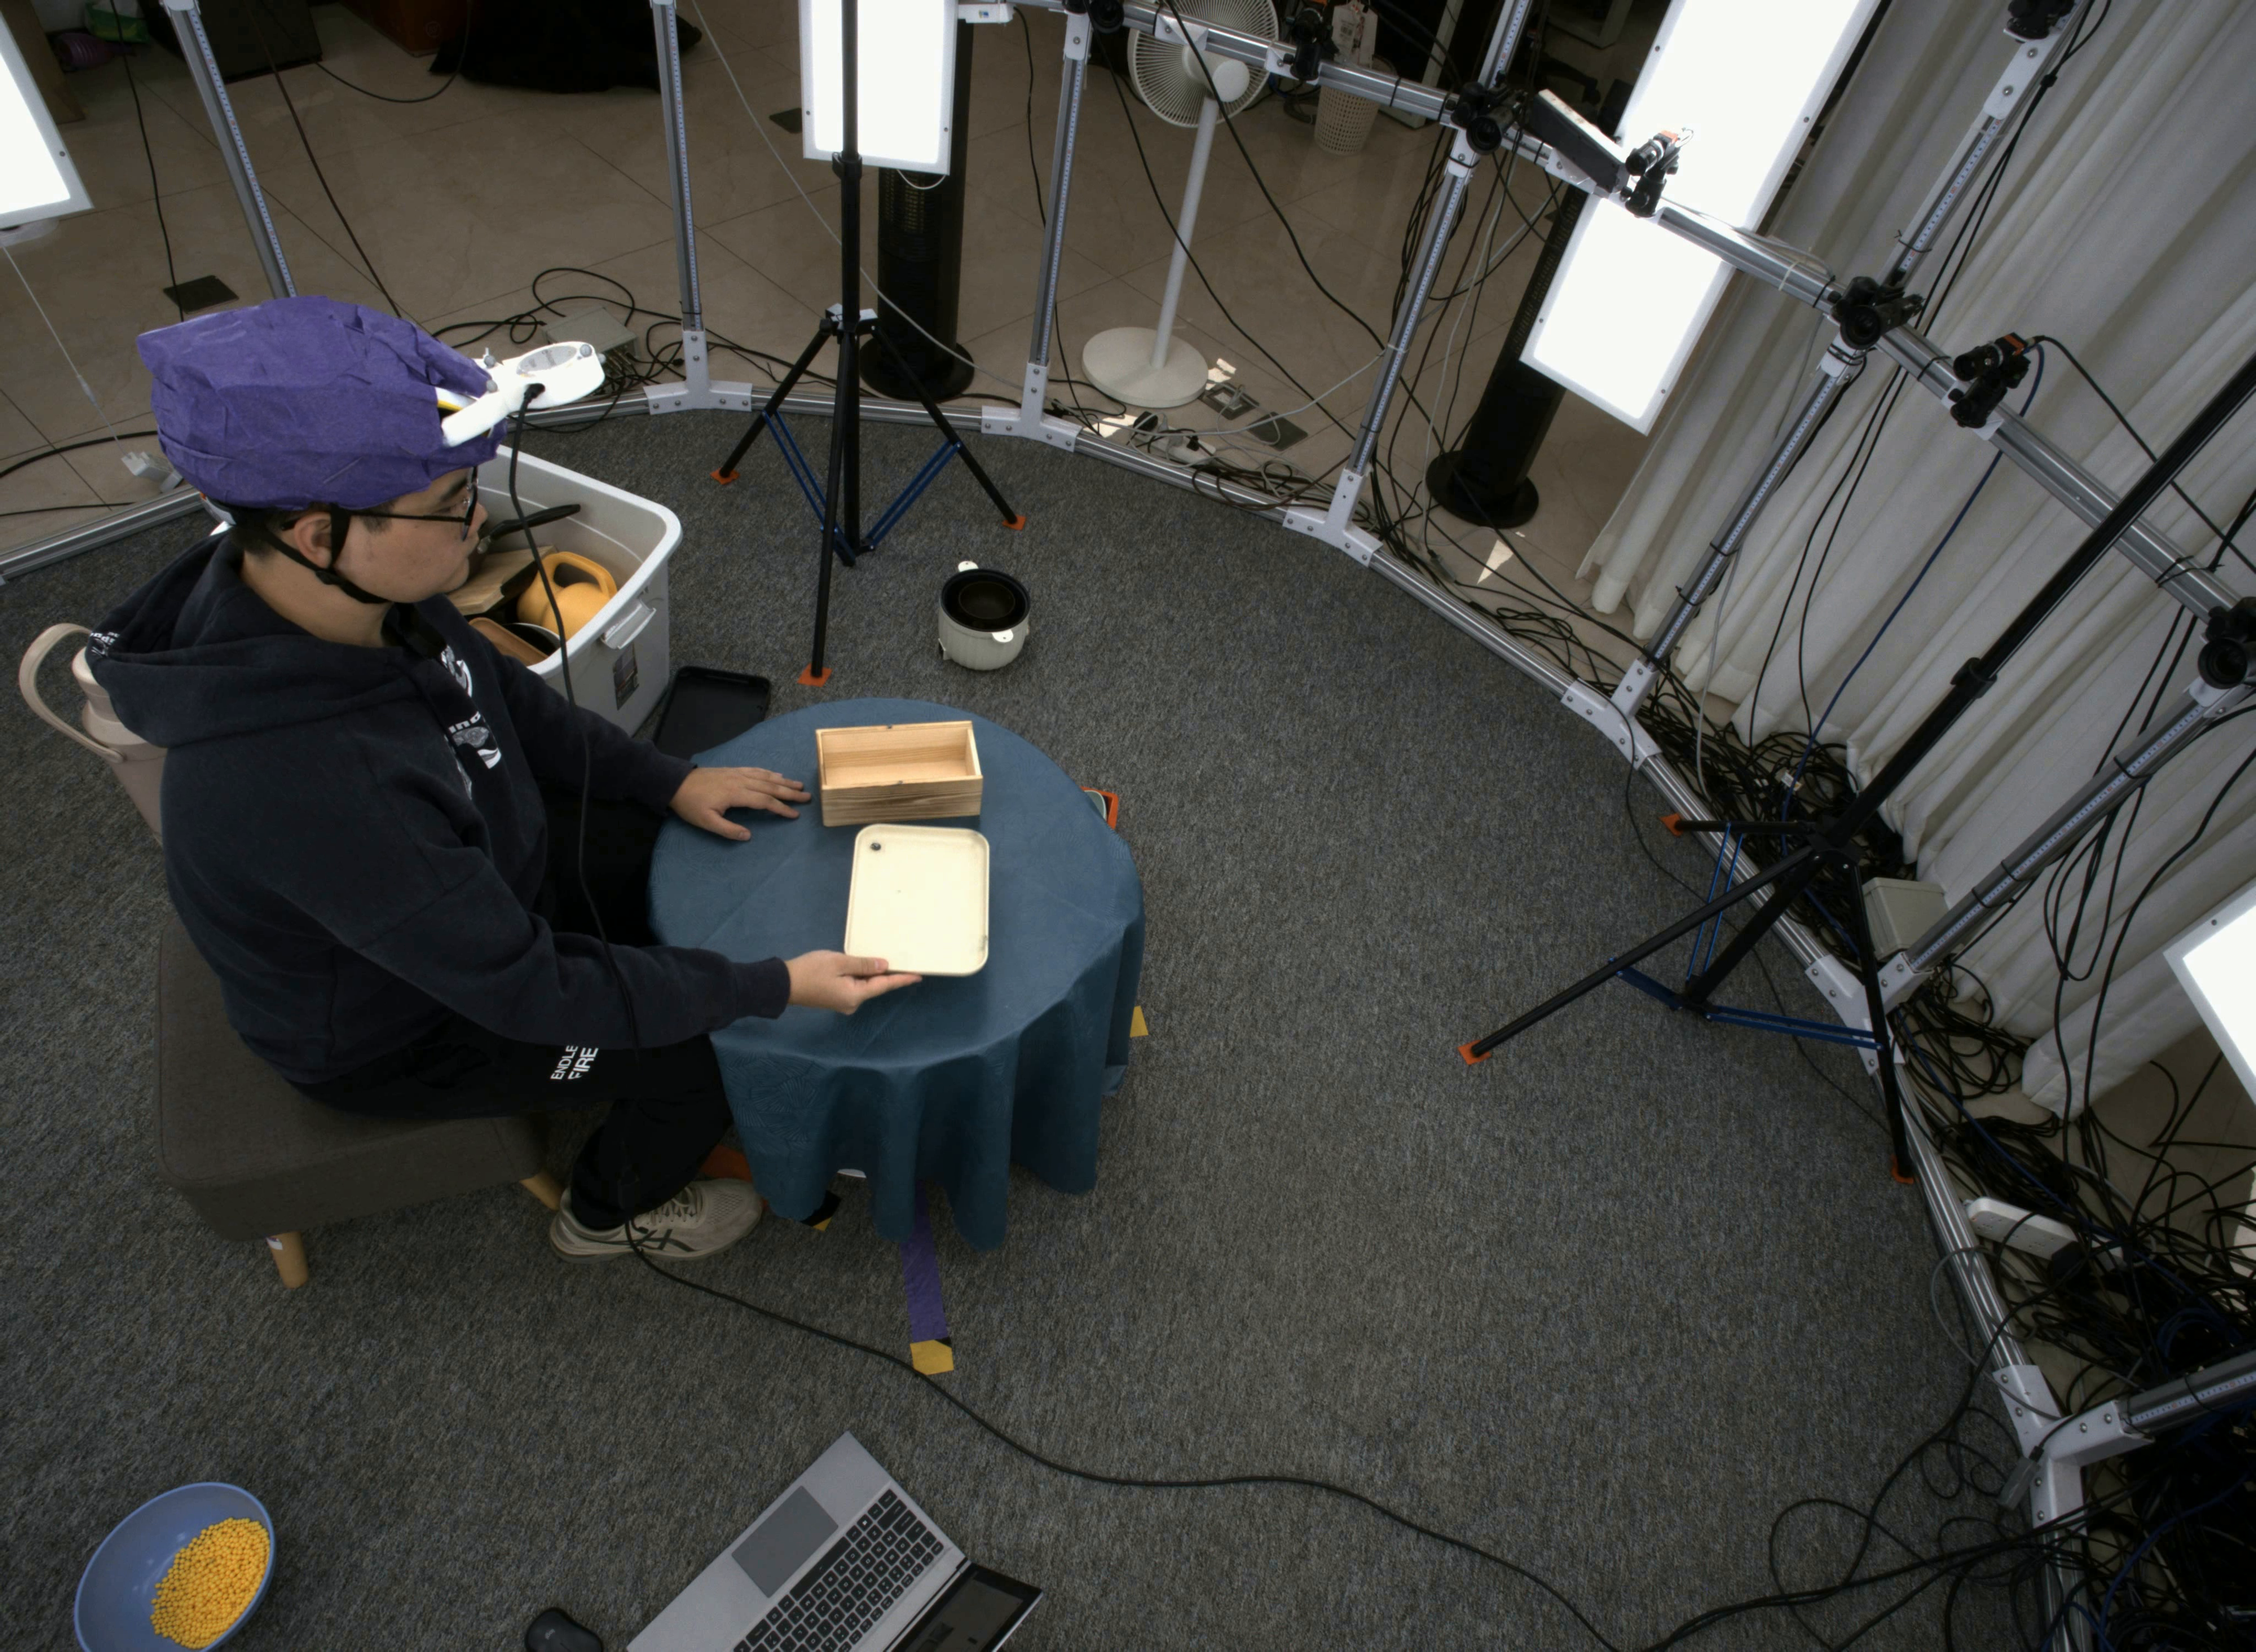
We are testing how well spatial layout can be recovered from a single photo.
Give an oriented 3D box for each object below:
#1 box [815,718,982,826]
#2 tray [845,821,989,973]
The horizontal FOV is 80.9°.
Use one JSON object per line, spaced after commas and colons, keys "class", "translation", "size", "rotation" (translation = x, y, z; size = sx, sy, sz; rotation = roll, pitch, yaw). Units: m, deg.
{"class": "box", "translation": [-0.310, -0.074, 1.753], "size": [0.212, 0.082, 0.105], "rotation": [-5, 54, -17]}
{"class": "tray", "translation": [-0.256, 0.085, 1.598], "size": [0.171, 0.018, 0.234], "rotation": [4, 46, -10]}
